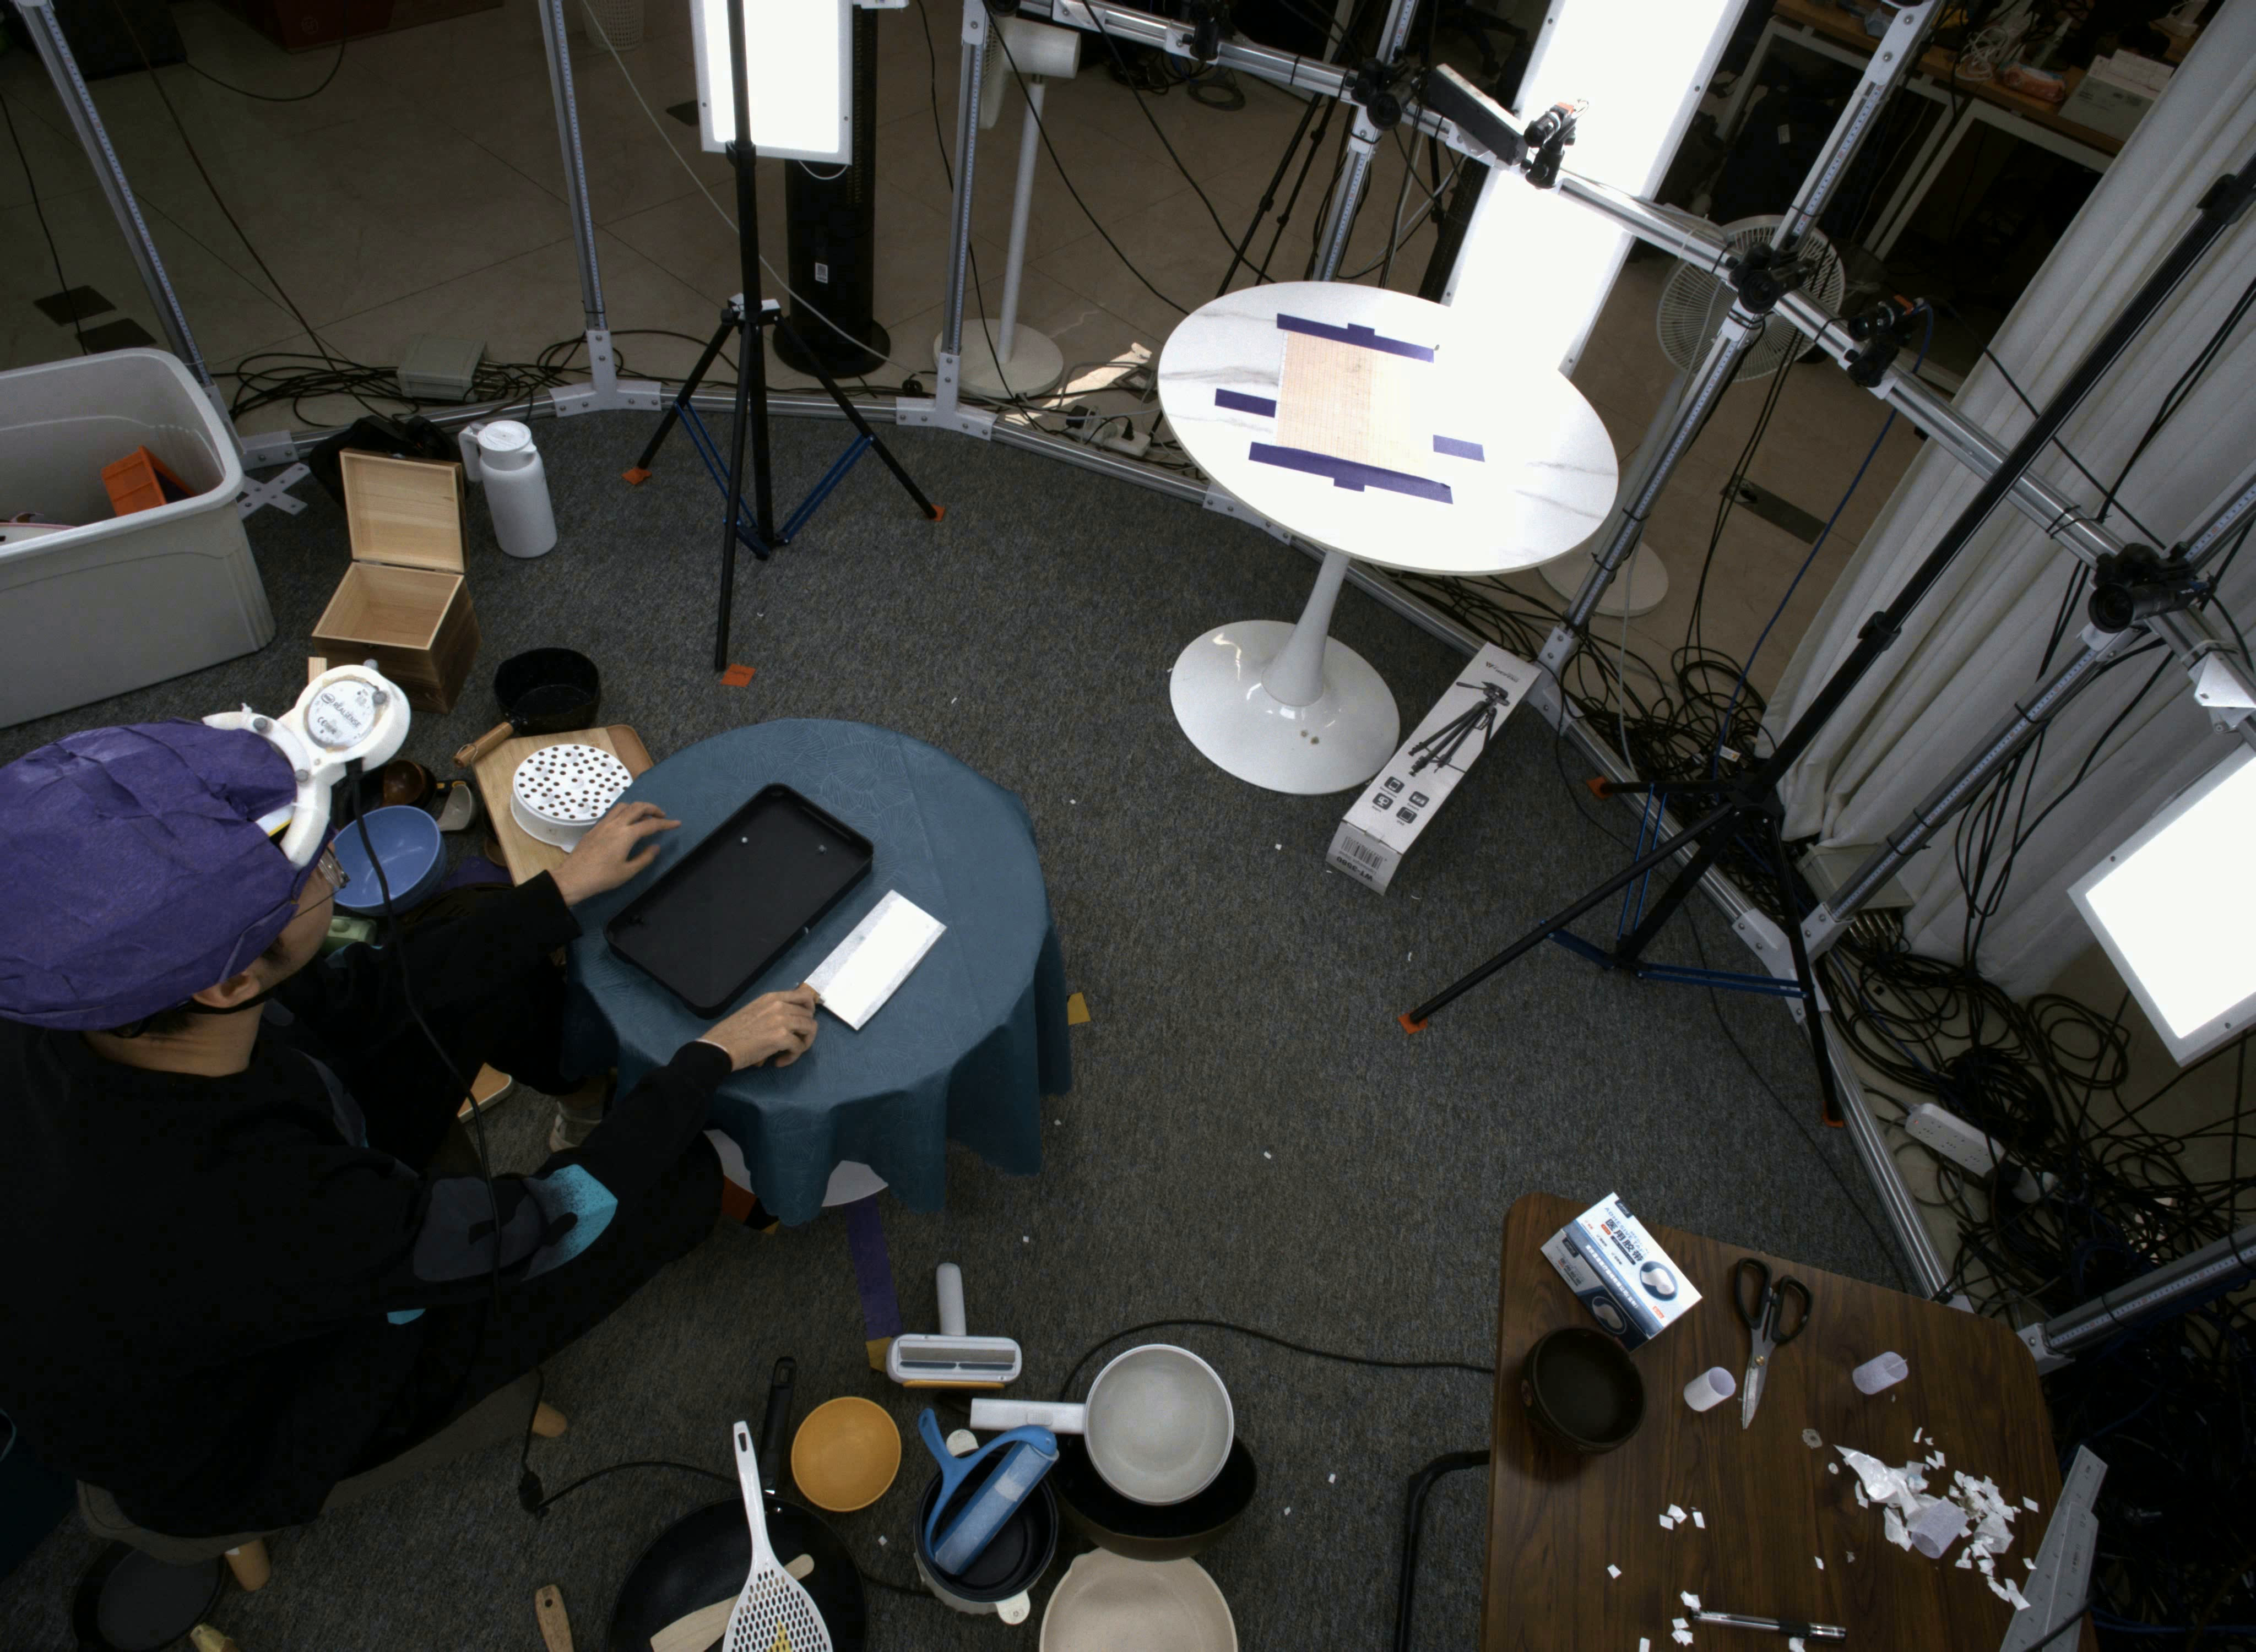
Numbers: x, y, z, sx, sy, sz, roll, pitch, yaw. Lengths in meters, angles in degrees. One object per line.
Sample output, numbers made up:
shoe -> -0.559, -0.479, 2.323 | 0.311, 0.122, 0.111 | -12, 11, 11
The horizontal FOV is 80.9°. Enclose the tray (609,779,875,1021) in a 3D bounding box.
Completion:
tray -> -0.477, 0.083, 1.615 | 0.181, 0.038, 0.317 | 31, 53, 9

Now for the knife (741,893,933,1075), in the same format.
knife -> -0.342, 0.195, 1.575 | 0.092, 0.021, 0.304 | 34, 50, 5
